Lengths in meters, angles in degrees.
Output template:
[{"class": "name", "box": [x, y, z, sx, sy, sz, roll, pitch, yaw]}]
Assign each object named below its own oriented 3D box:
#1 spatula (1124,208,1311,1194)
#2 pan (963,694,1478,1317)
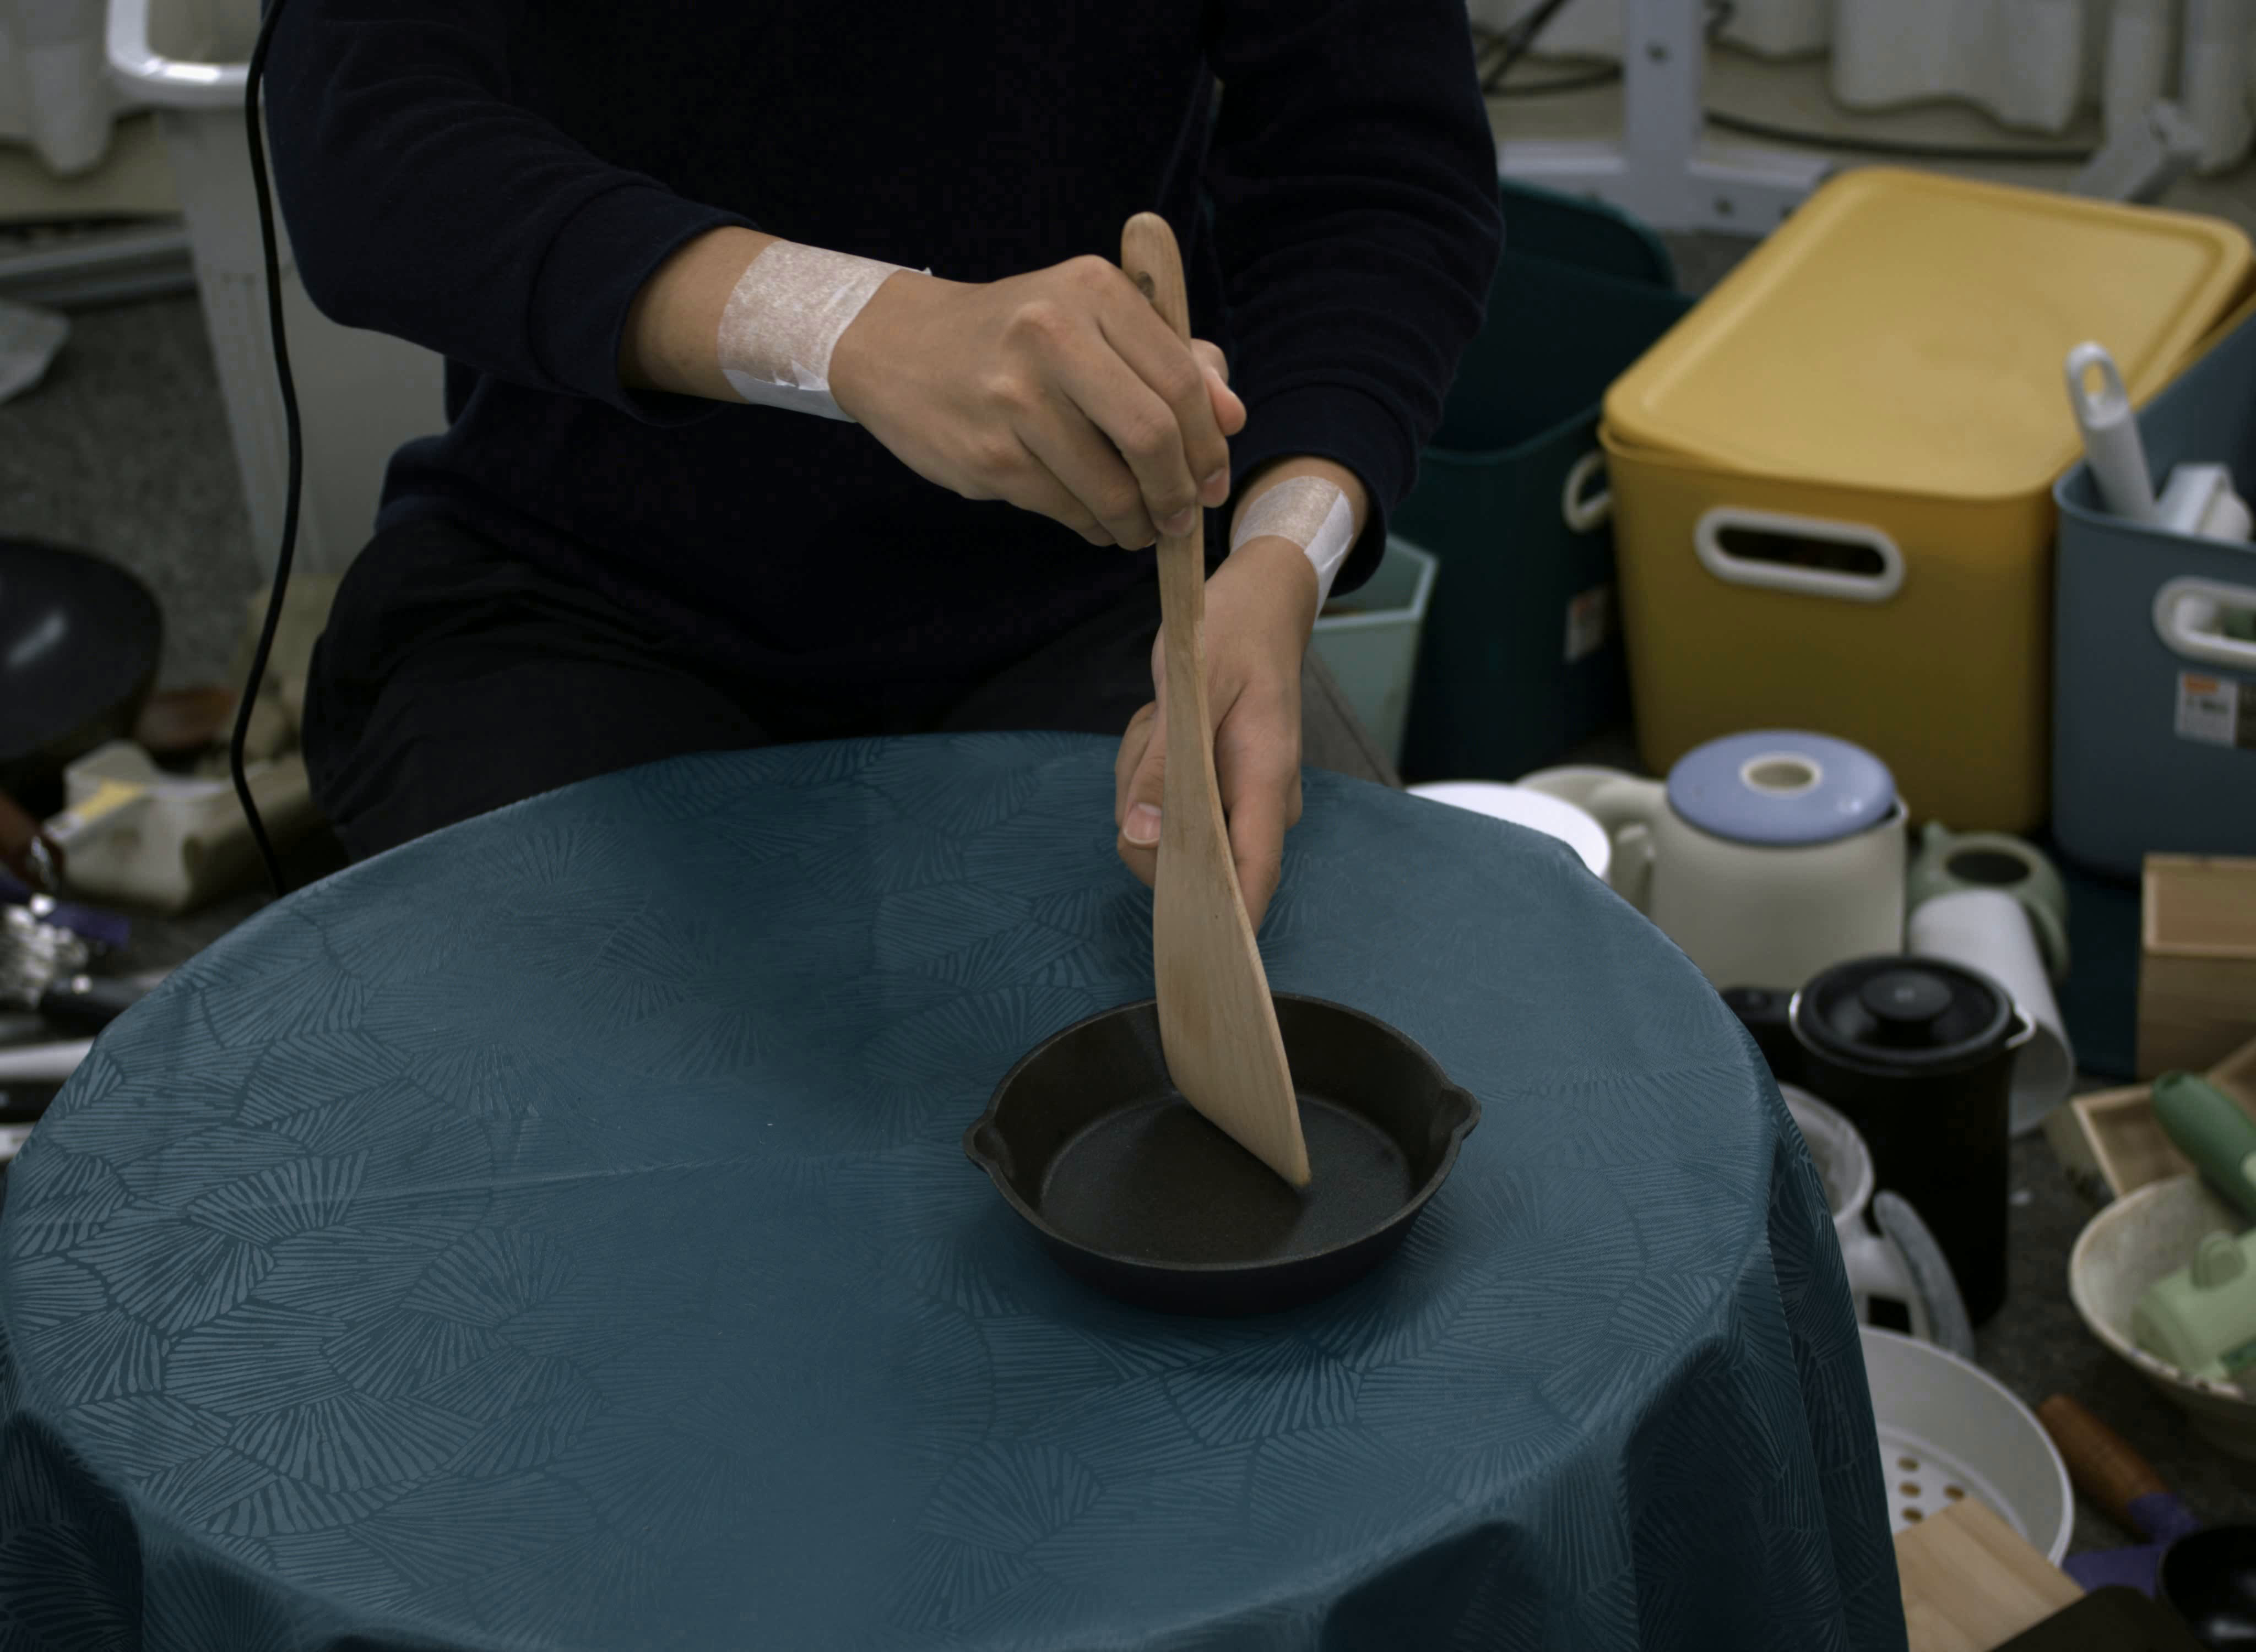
[{"class": "spatula", "box": [0.022, -0.039, 1.815, 0.016, 0.325, 0.080, -15, 21, -31]}, {"class": "pan", "box": [0.029, 0.058, 1.906, 0.168, 0.049, 0.330, -3, 33, 0]}]
